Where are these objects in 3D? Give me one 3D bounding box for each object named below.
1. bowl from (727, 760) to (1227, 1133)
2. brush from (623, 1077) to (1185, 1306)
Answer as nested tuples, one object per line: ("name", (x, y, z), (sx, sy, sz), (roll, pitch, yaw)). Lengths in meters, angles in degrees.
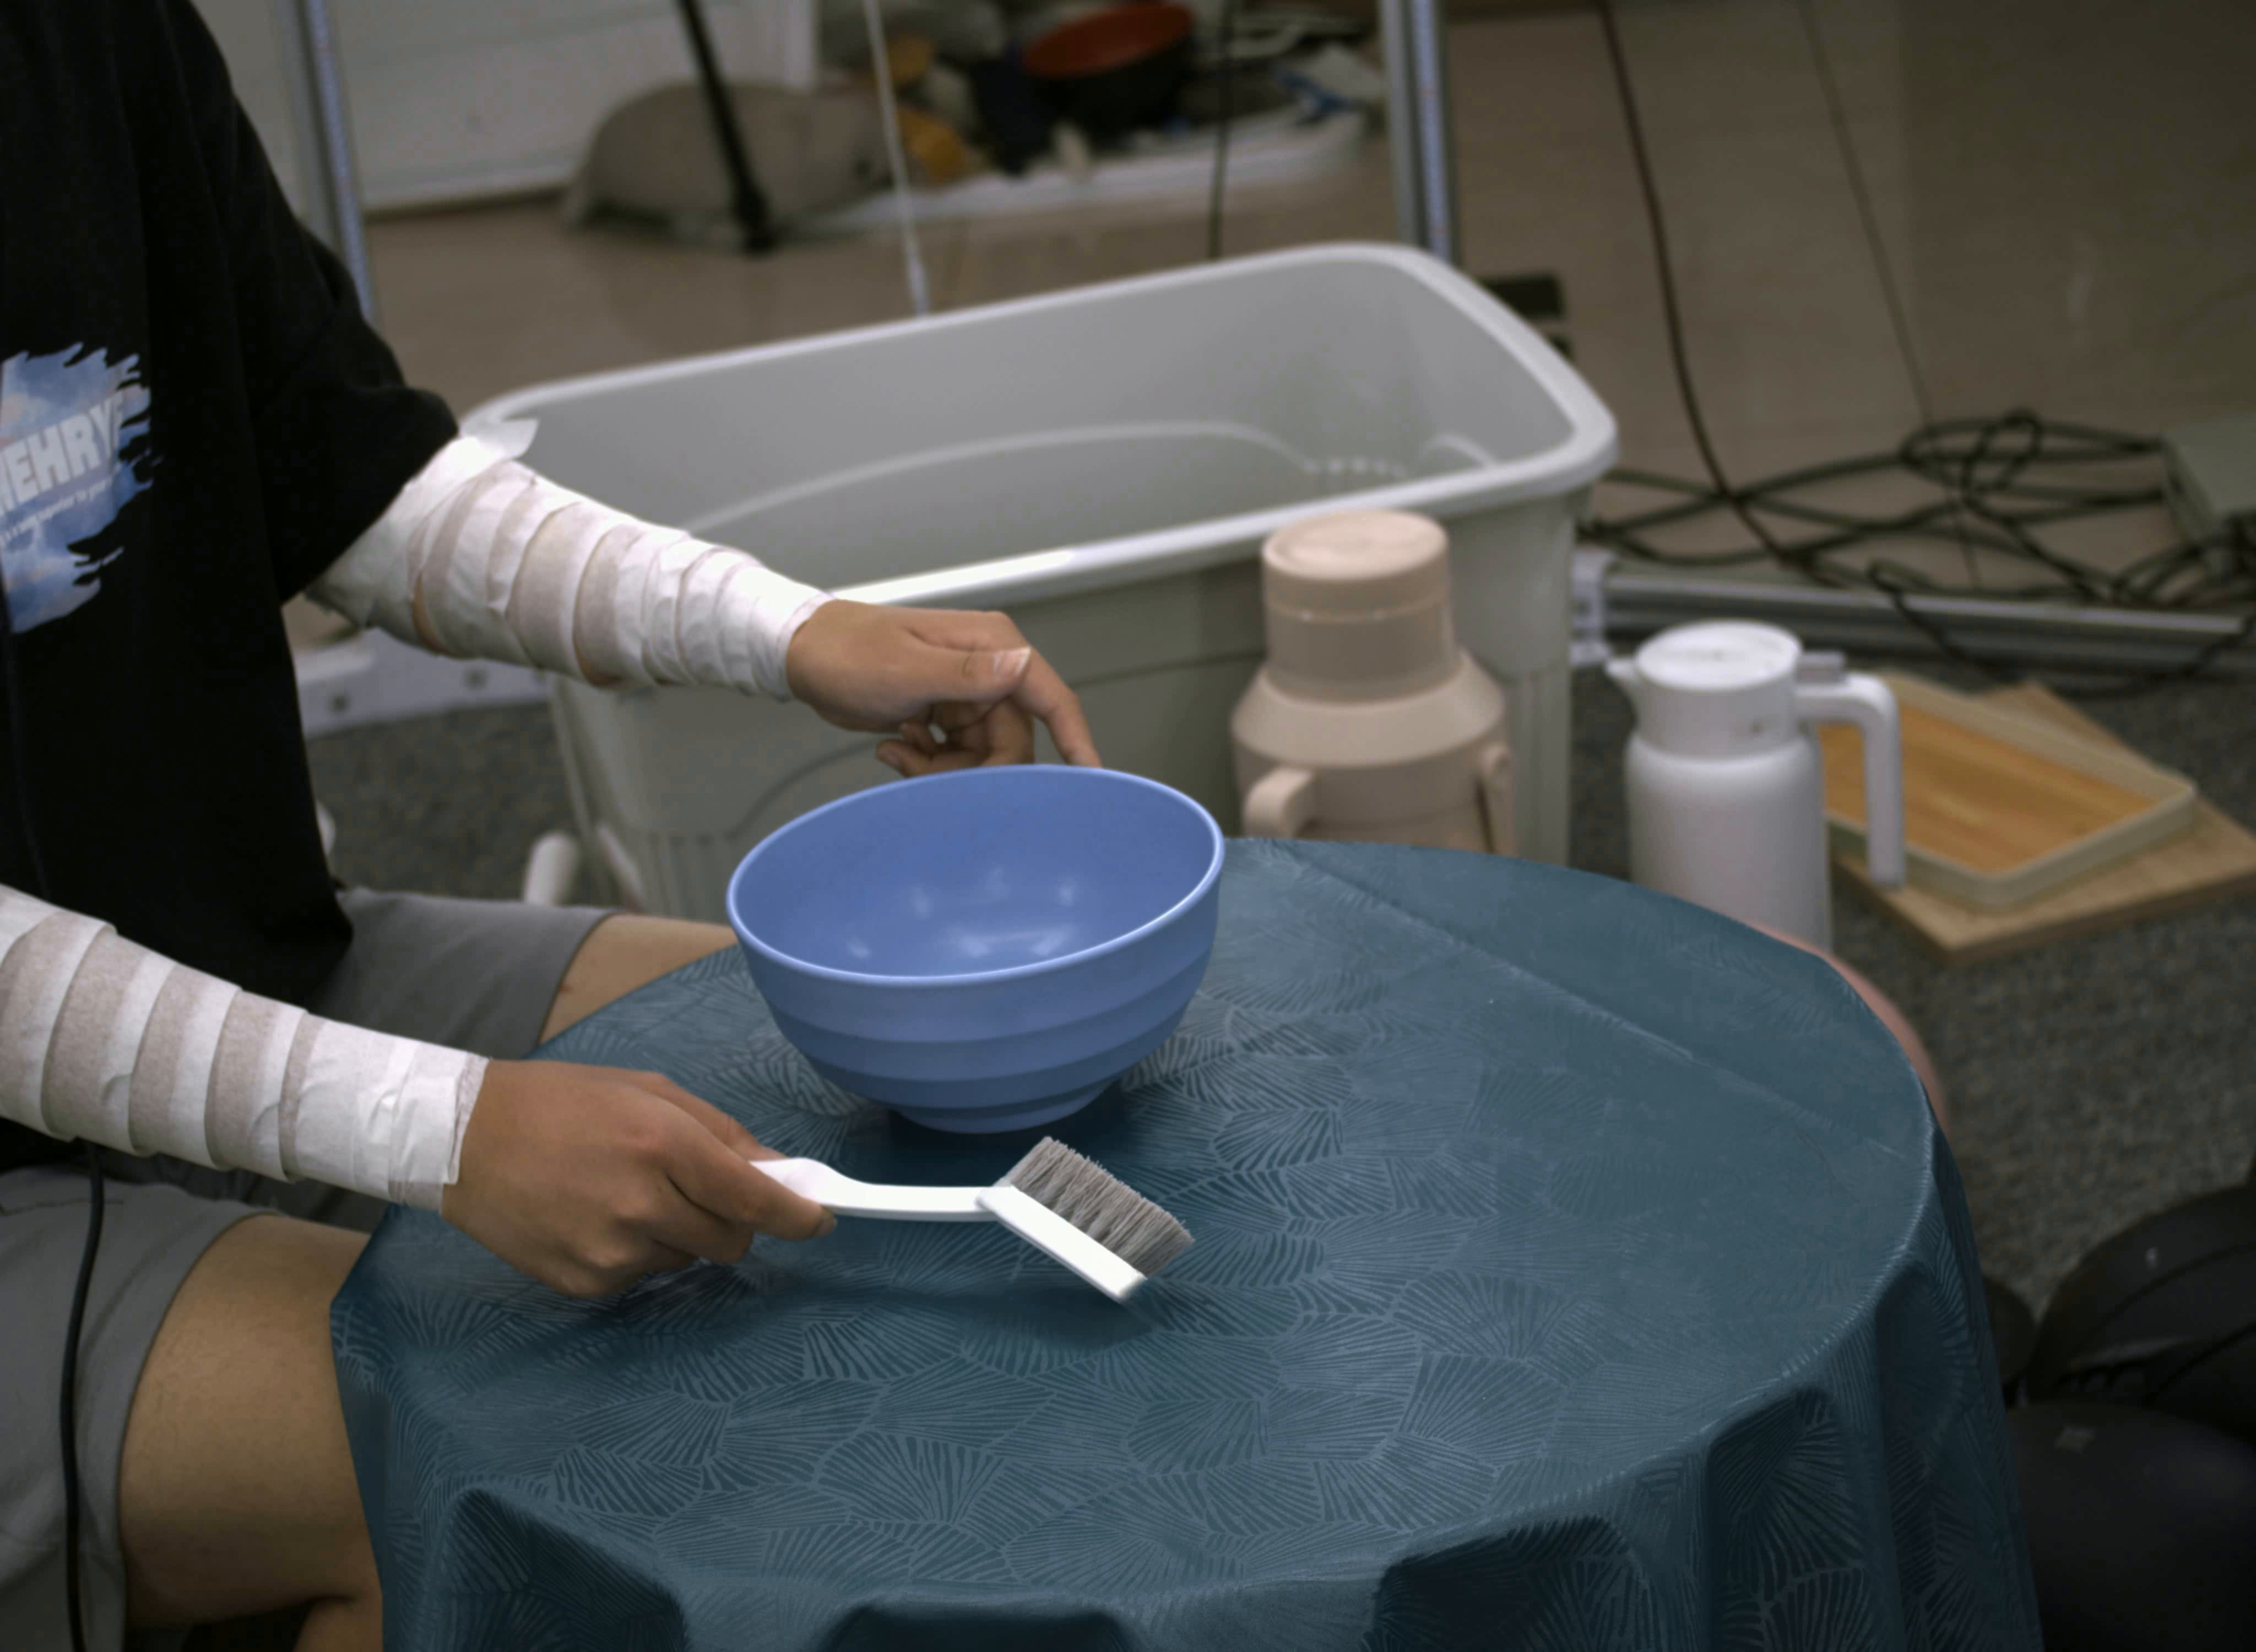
("bowl", (-0.054, 0.058, 2.222), (0.196, 0.097, 0.193), (-5, 26, 3))
("brush", (-0.085, 0.117, 2.106), (0.242, 0.050, 0.034), (20, -1, 30))
